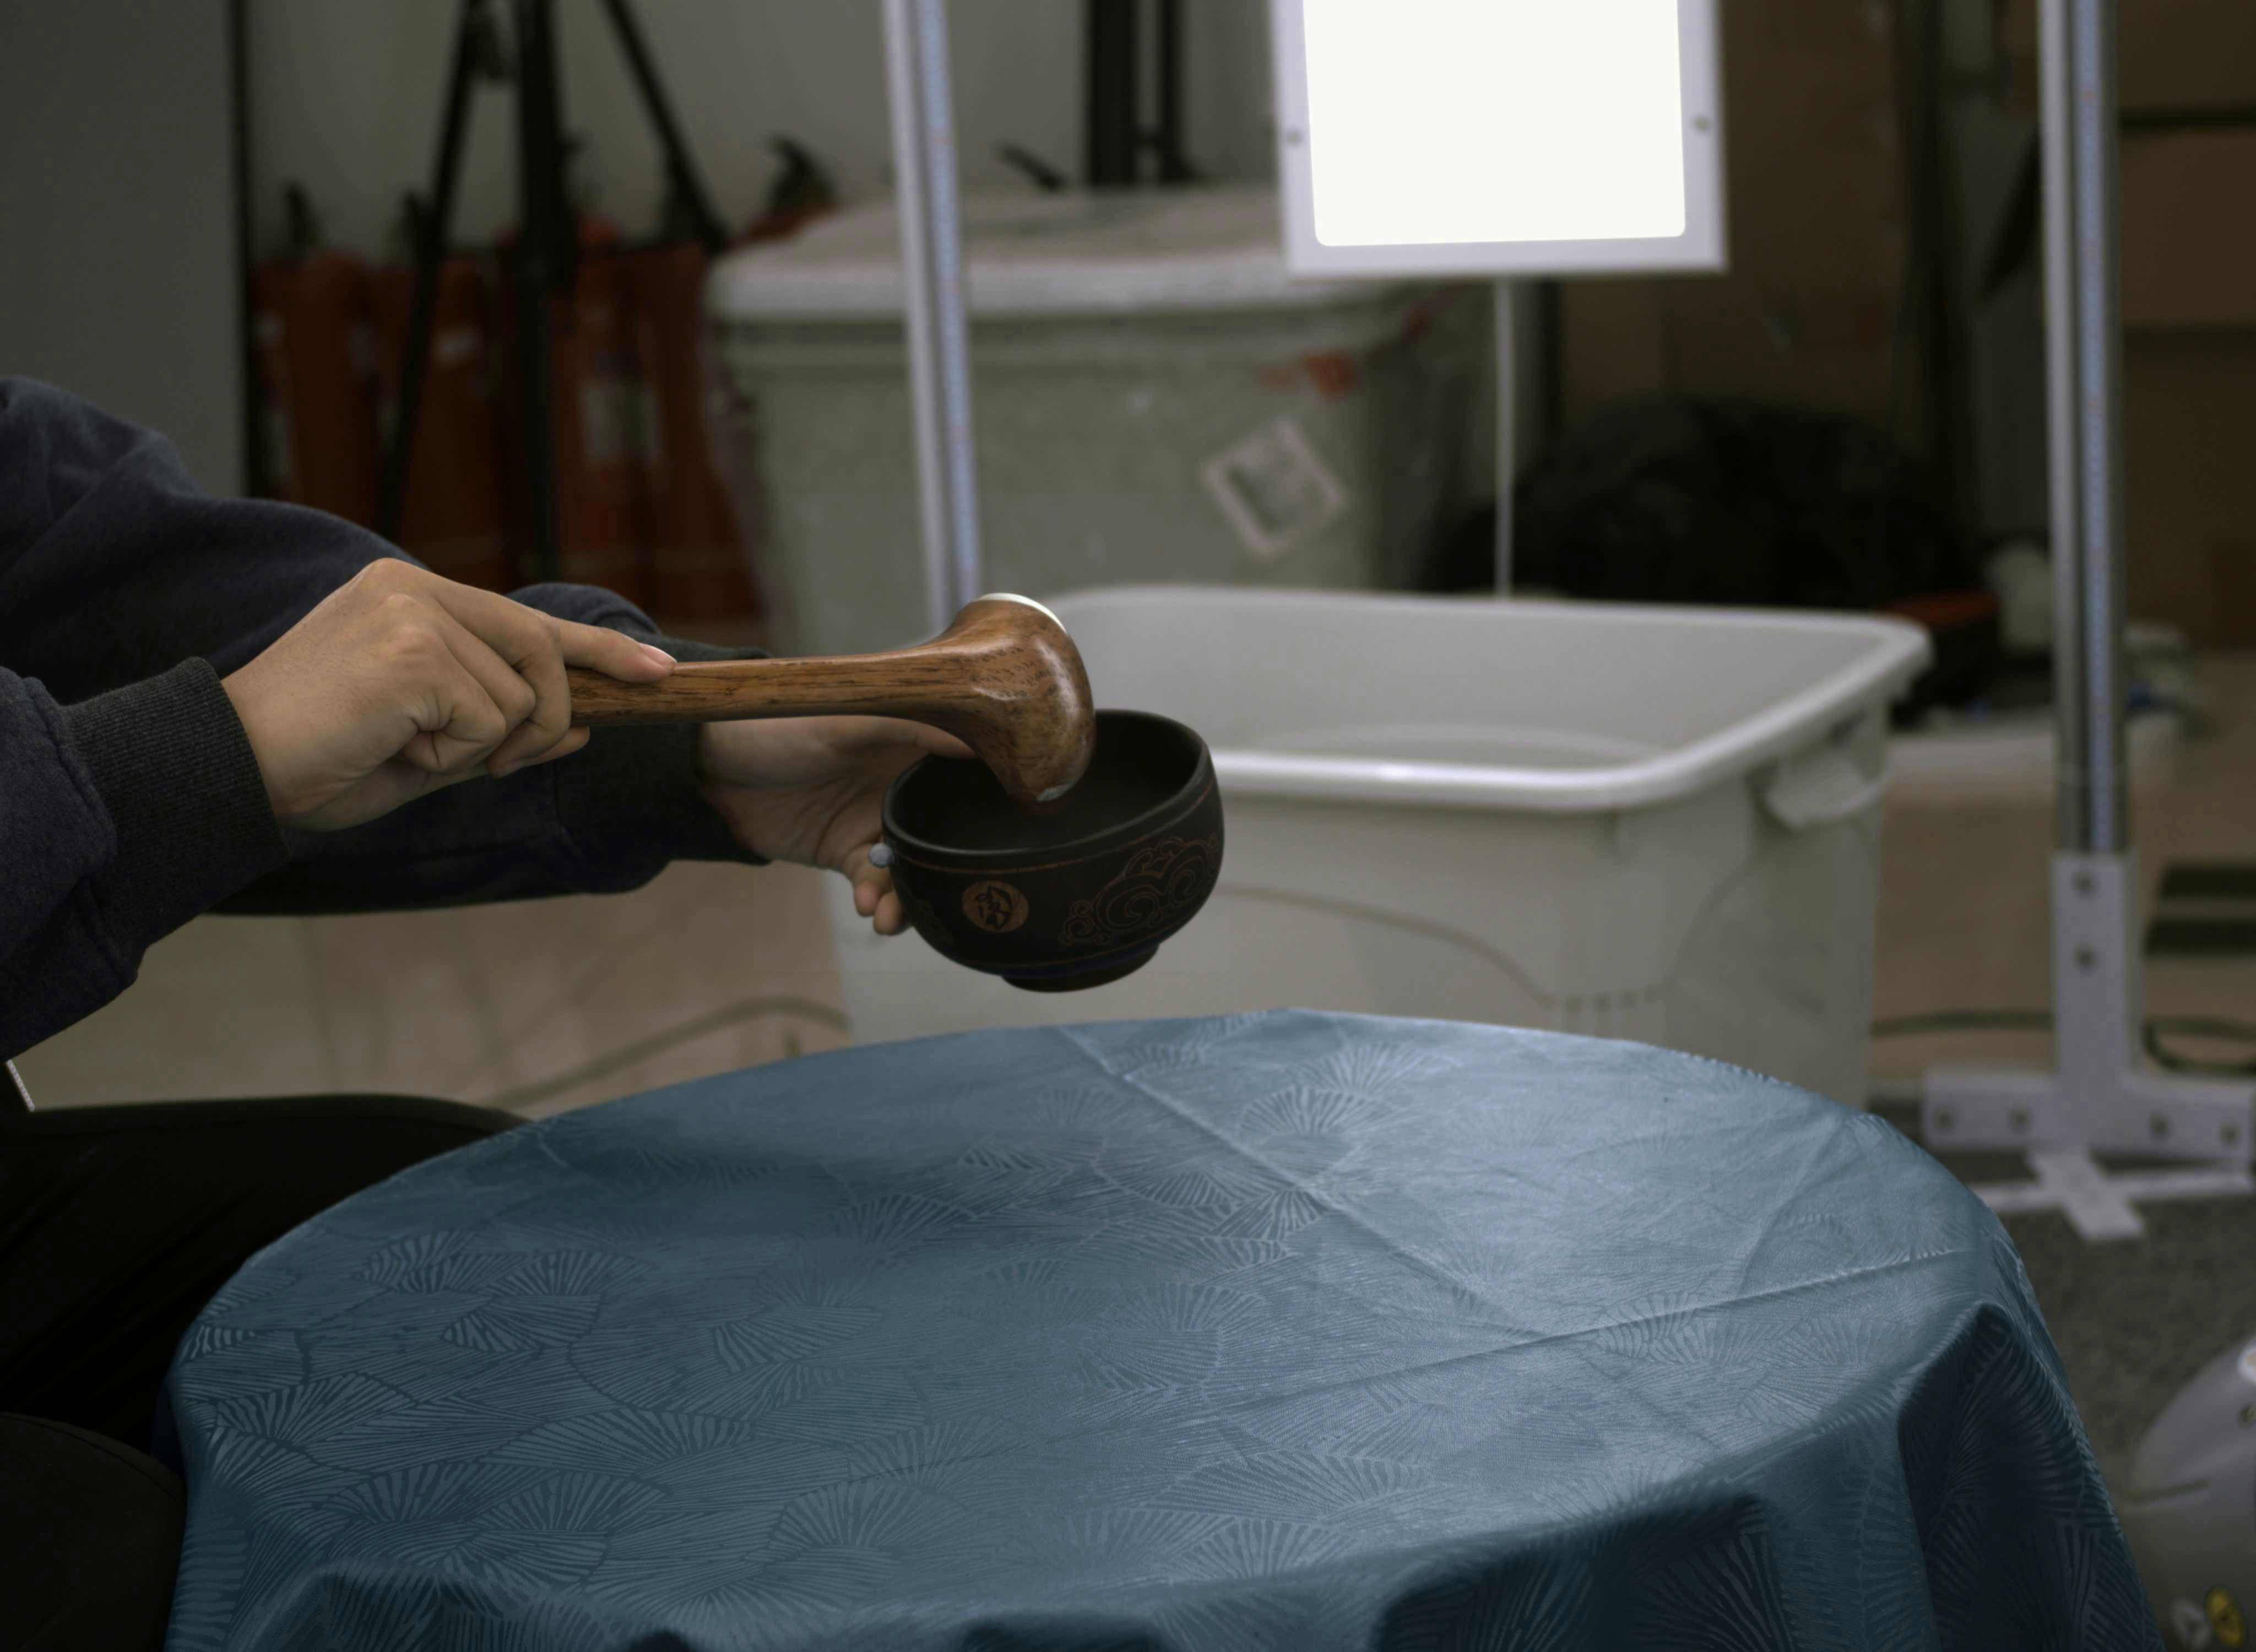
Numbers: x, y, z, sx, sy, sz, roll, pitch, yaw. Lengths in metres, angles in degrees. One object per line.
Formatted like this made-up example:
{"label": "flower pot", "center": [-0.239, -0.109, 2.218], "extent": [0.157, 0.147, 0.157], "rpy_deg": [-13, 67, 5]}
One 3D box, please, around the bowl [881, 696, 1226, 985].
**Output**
{"label": "bowl", "center": [-0.022, 0.011, 1.899], "extent": [0.118, 0.070, 0.118], "rpy_deg": [-11, 25, 4]}

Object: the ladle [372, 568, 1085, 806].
{"label": "ladle", "center": [-0.131, -0.040, 1.811], "extent": [0.268, 0.082, 0.078], "rpy_deg": [-5, -17, -27]}
